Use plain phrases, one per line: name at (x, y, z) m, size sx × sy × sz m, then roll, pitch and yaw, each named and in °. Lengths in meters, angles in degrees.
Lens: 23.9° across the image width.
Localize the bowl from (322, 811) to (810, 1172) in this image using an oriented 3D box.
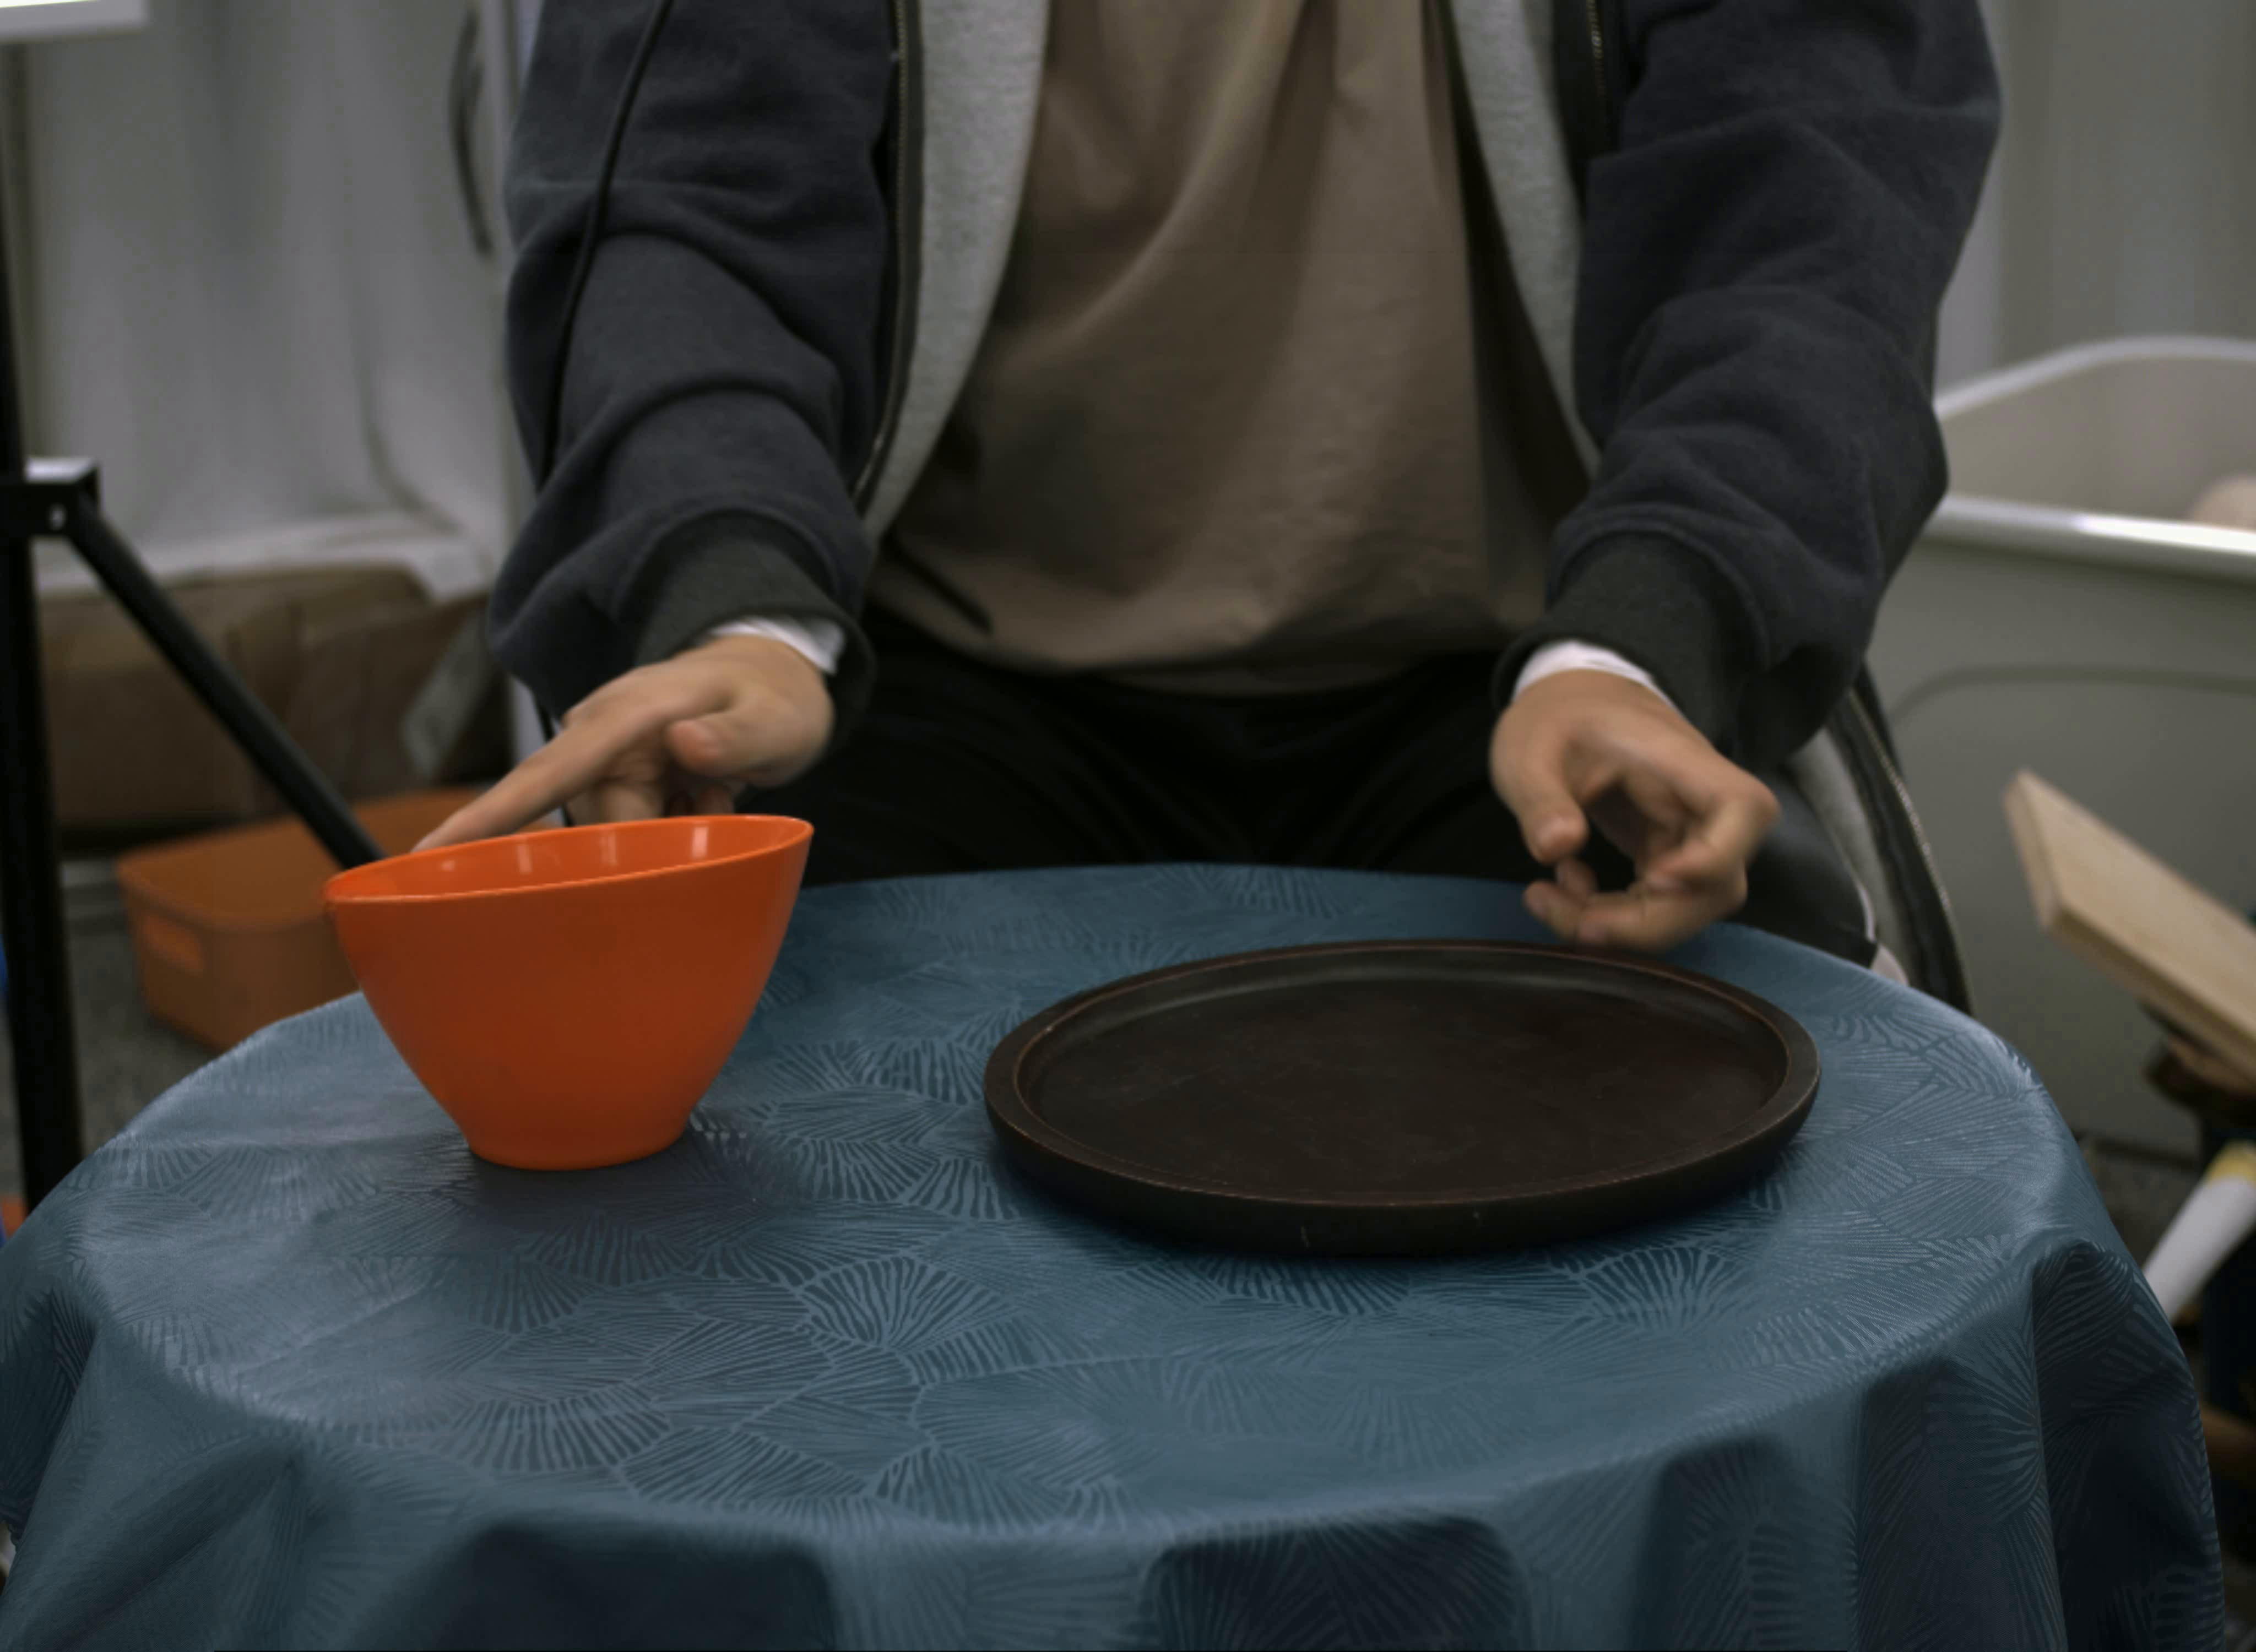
bowl at (-0.167, 0.049, 1.613) m, size 0.147 × 0.104 × 0.149 m, roll -3°, pitch 16°, yaw 0°

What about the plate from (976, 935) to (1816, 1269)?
plate at (0.081, 0.081, 1.600) m, size 0.253 × 0.029 × 0.256 m, roll -4°, pitch 16°, yaw 0°
